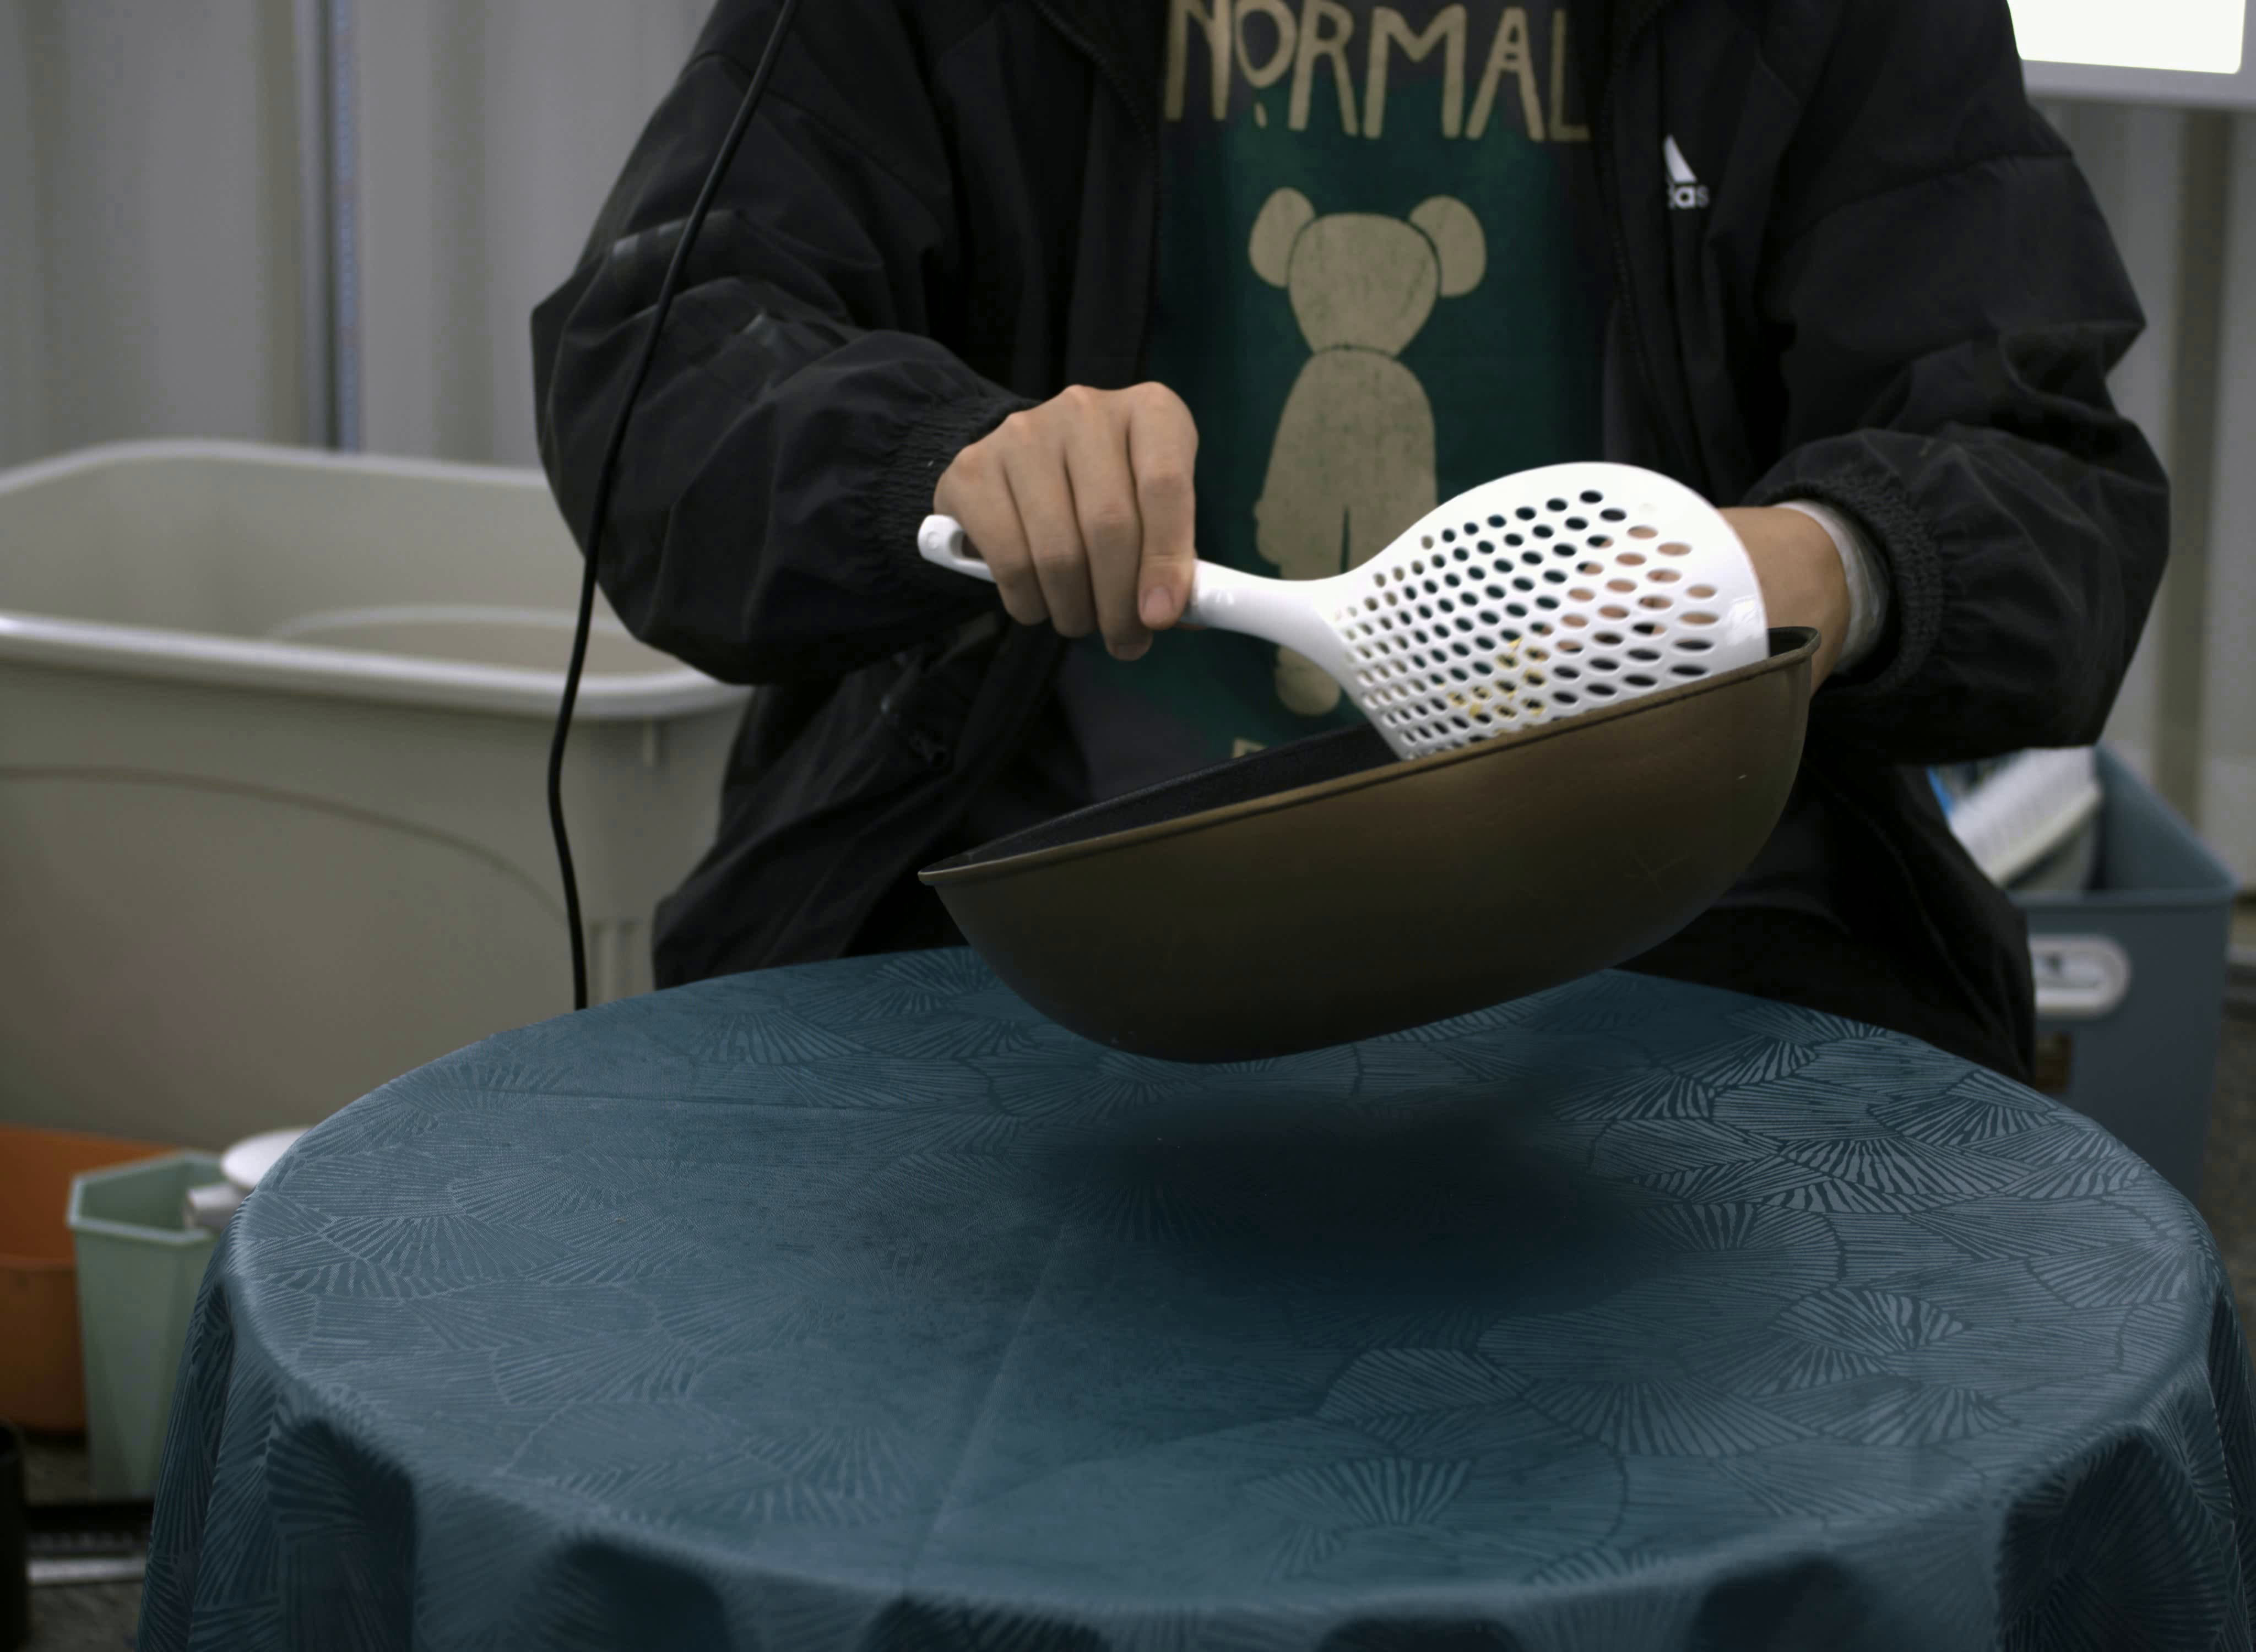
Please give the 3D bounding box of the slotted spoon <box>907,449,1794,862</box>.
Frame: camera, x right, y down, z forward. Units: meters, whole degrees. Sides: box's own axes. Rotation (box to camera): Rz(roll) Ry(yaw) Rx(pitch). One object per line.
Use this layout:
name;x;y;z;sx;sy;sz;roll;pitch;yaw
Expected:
slotted spoon;0.064;-0.066;1.700;0.343;0.138;0.050;14;20;42

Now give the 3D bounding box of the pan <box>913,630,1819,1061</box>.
pan;0.119;-0.002;1.678;0.286;0.087;0.465;-14;3;26
